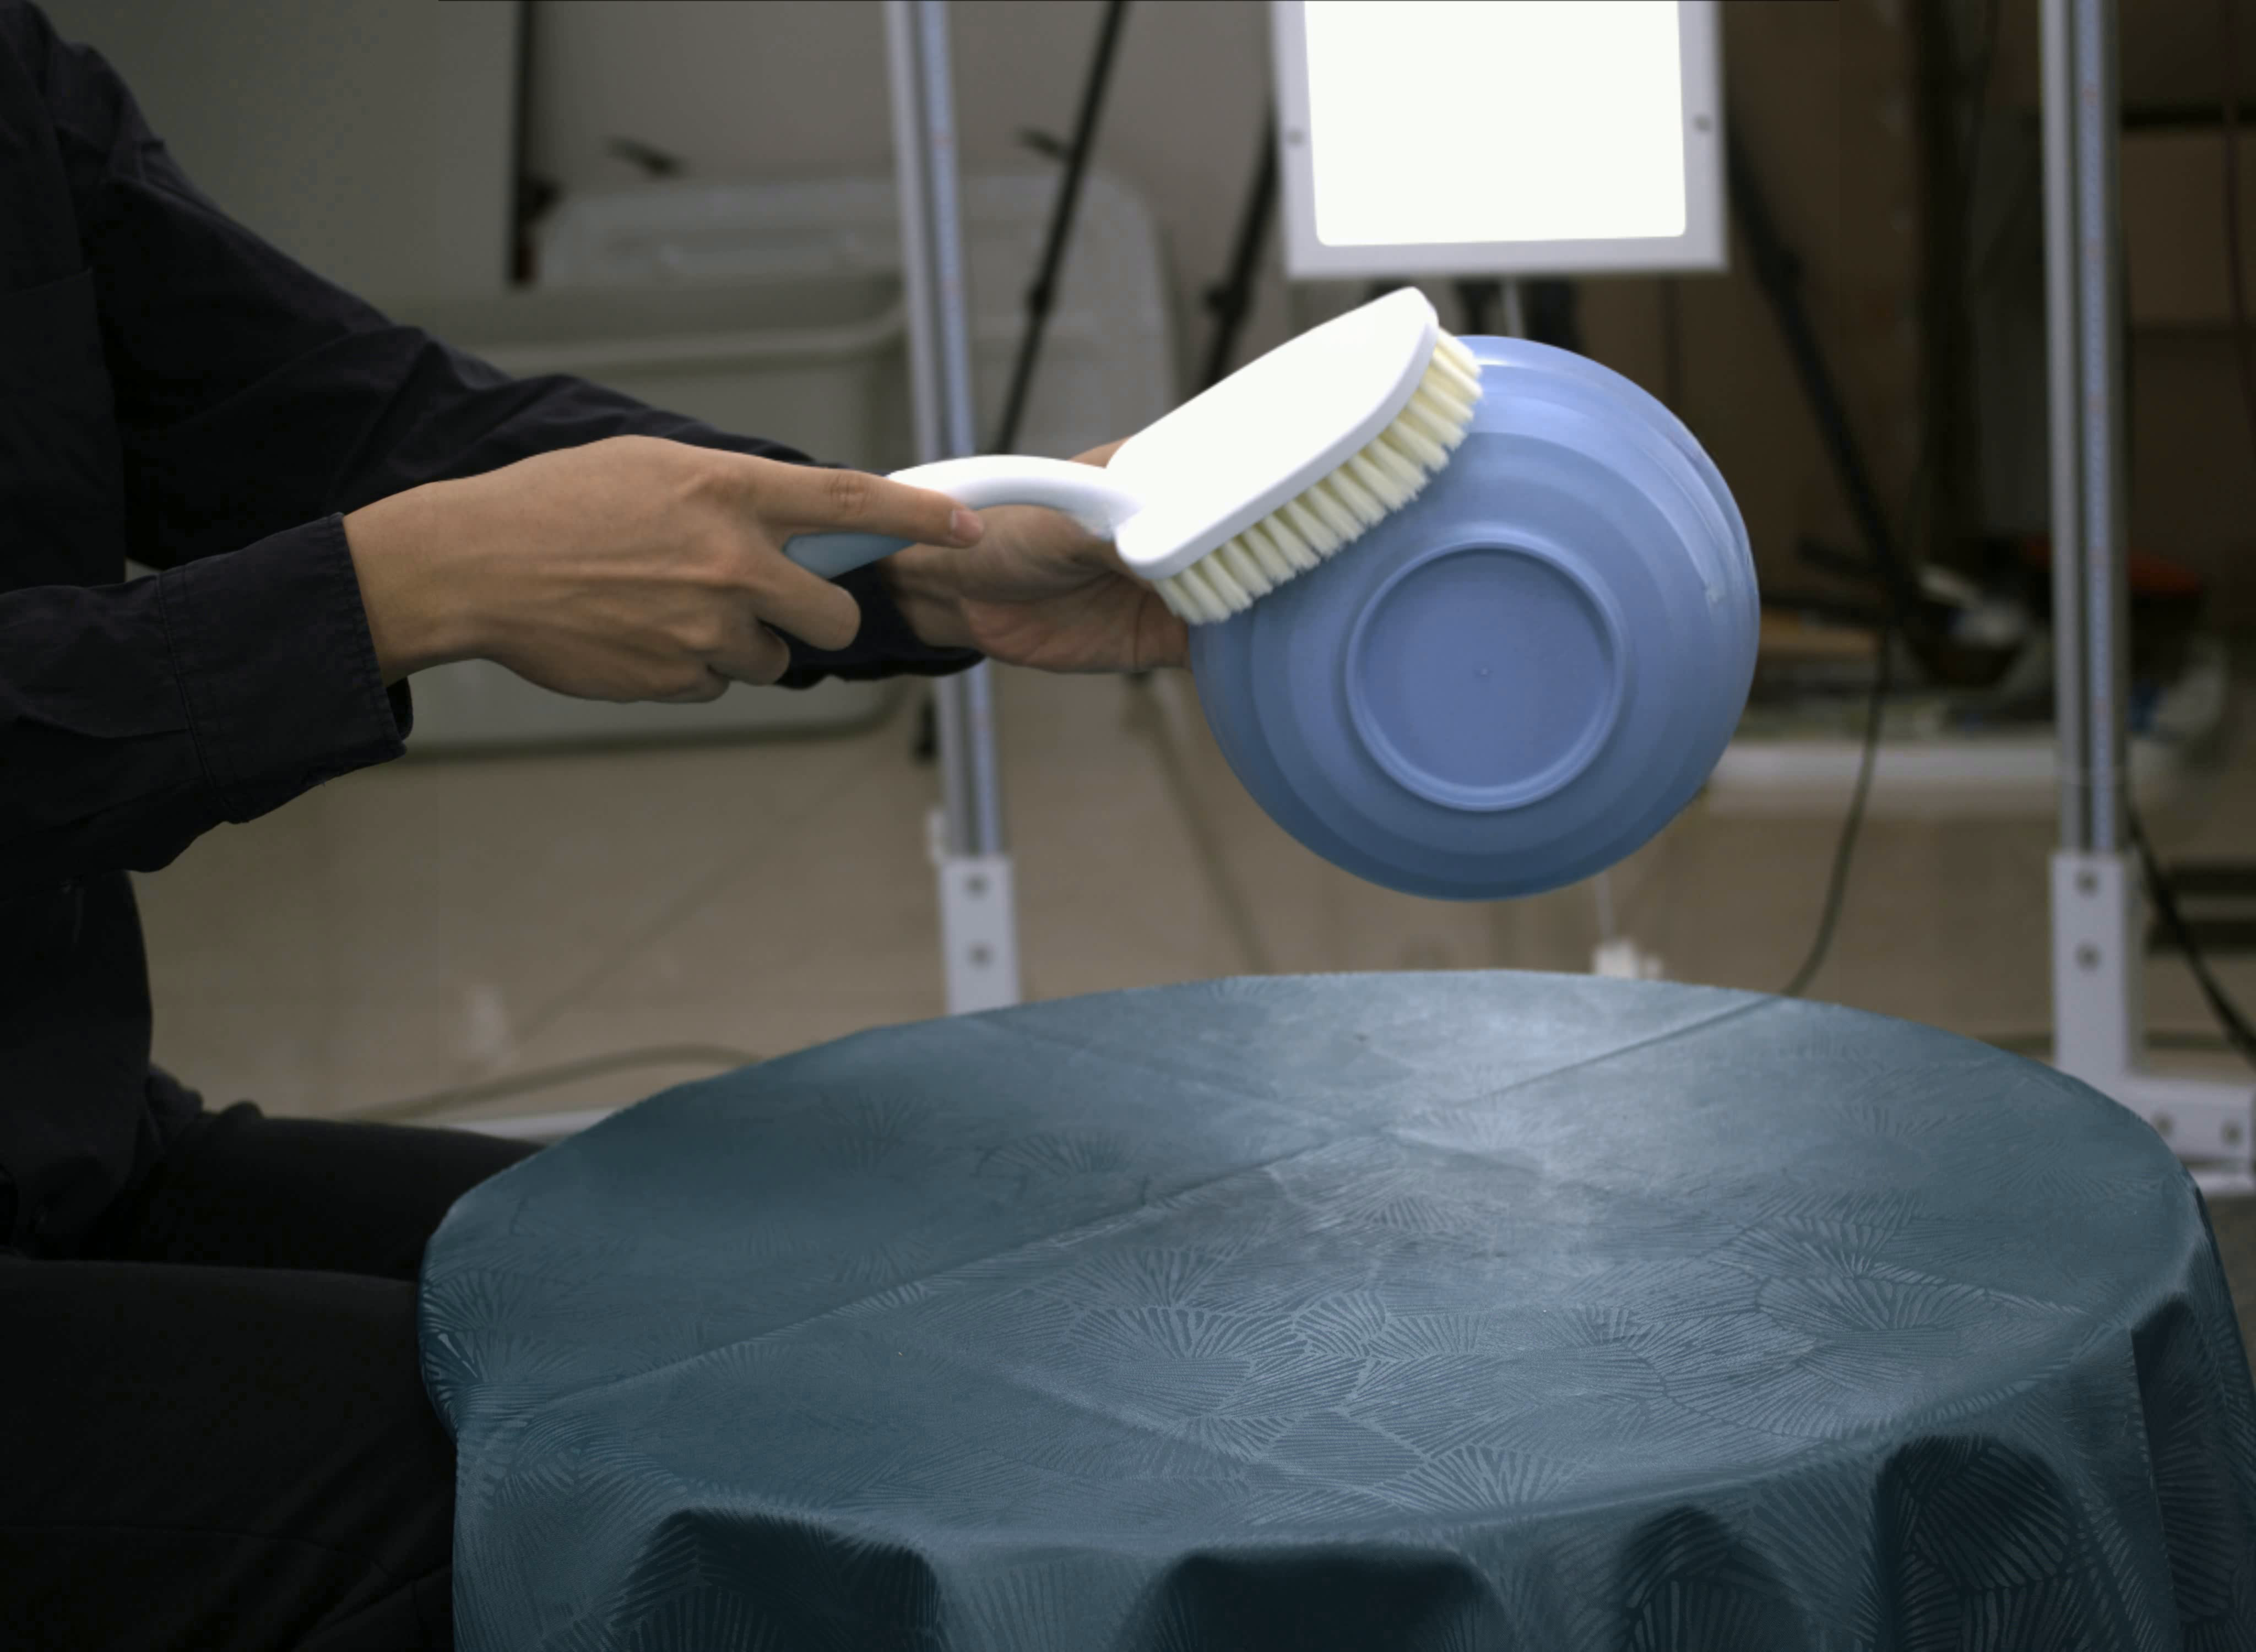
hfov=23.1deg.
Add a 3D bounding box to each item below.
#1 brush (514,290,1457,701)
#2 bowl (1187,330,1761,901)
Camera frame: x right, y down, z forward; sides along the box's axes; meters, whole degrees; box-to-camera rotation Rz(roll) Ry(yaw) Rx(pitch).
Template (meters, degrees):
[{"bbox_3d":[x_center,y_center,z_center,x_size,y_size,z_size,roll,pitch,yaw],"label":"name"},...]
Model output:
[{"bbox_3d":[-0.043,-0.088,1.806,0.327,0.085,0.082,-21,1,9],"label":"brush"},{"bbox_3d":[0.118,-0.061,1.826,0.196,0.197,0.095,-4,14,3],"label":"bowl"}]
